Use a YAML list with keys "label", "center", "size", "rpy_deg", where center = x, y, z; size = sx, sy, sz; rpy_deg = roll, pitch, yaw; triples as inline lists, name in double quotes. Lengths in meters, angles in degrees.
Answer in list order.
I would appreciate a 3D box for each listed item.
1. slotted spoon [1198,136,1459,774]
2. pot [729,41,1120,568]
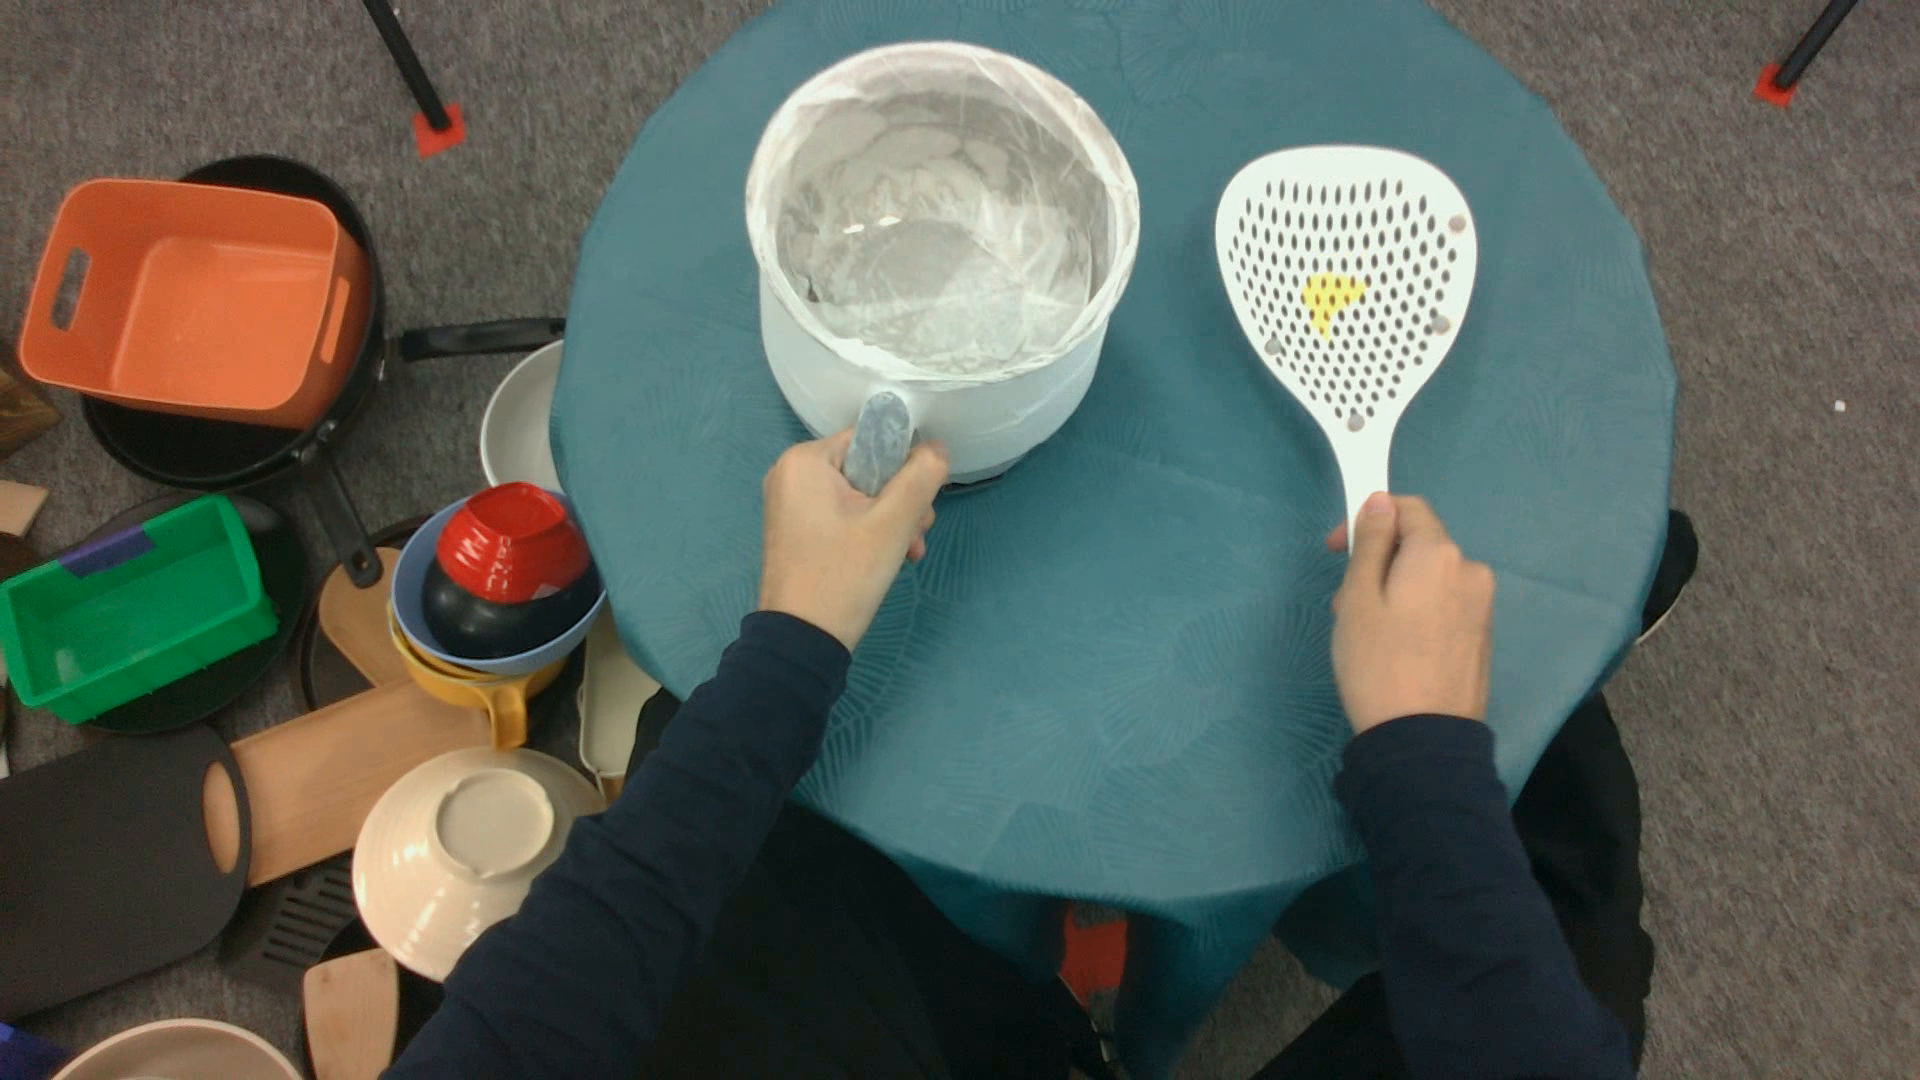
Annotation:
- label: "slotted spoon"
  center: [0.193, -0.057, 0.698]
  size: [0.137, 0.050, 0.349]
  rpy_deg: [1, 63, 2]
- label: "pot"
  center: [-0.024, -0.107, 0.670]
  size: [0.178, 0.136, 0.234]
  rpy_deg: [12, 68, 3]
